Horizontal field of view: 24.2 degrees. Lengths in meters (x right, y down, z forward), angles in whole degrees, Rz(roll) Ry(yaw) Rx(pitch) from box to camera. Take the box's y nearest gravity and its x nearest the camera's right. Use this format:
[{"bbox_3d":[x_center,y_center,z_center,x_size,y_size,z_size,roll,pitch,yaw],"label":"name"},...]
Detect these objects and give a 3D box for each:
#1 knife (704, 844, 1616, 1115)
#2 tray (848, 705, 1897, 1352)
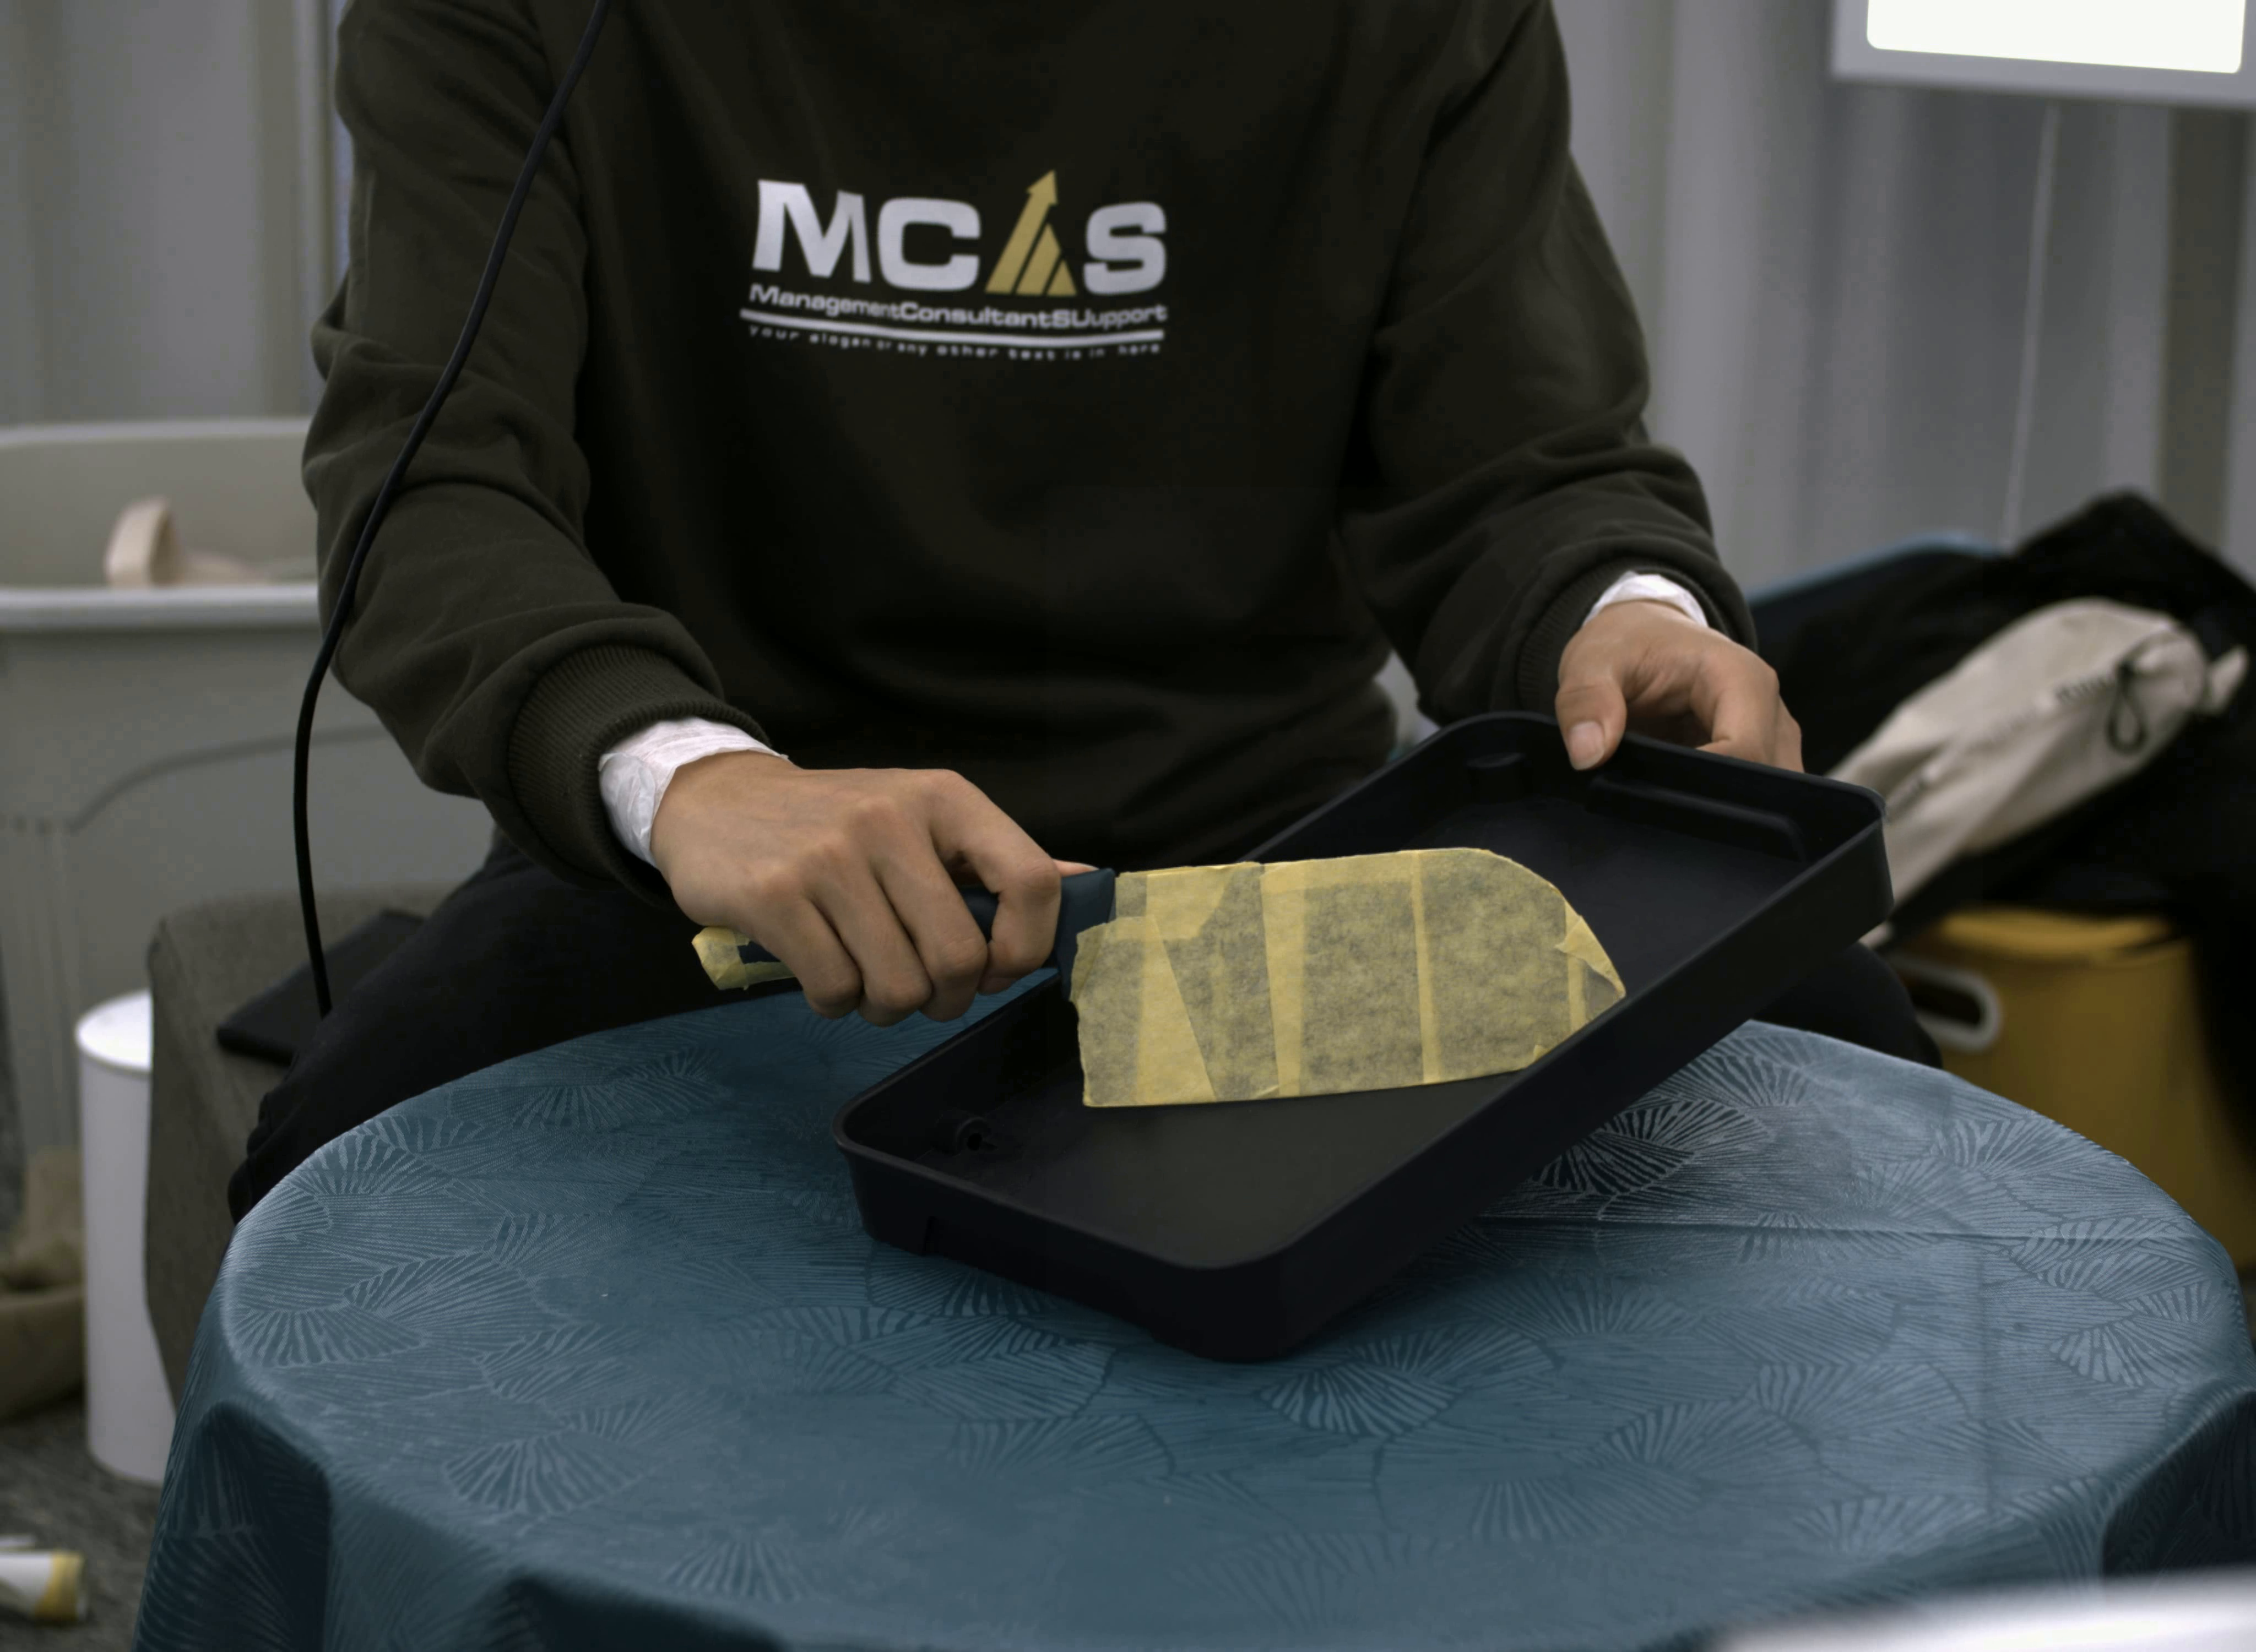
[{"bbox_3d":[0.008,0.048,1.617,0.287,0.081,0.027,-2,-9,12],"label":"knife"},{"bbox_3d":[0.081,0.054,1.620,0.182,0.037,0.318,13,35,42],"label":"tray"}]
